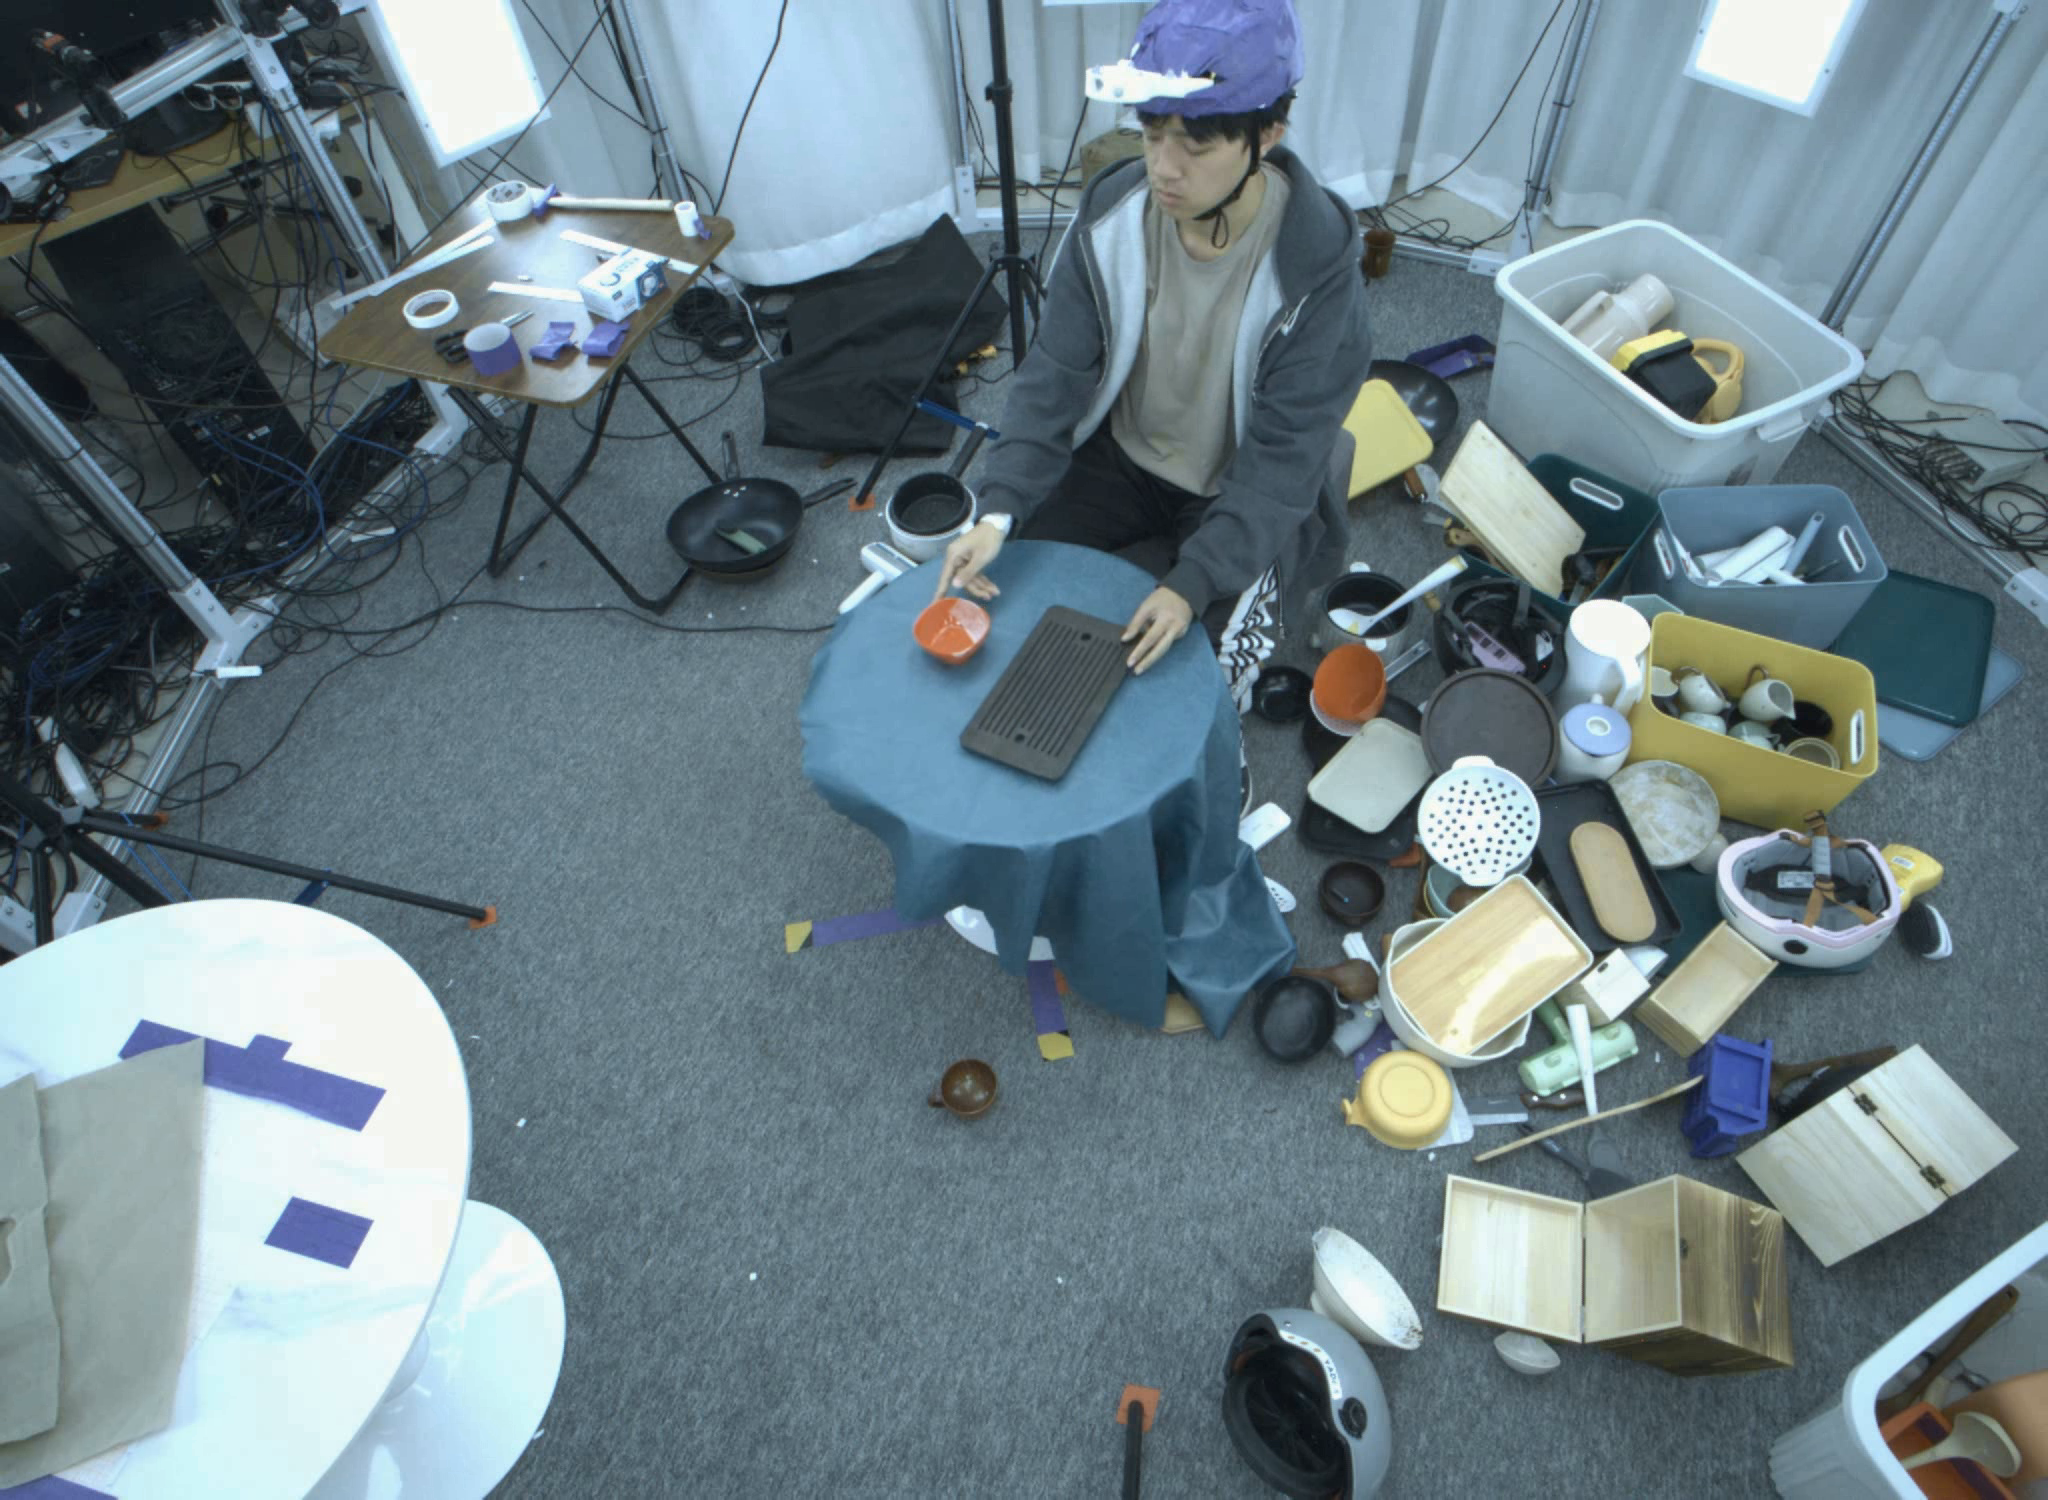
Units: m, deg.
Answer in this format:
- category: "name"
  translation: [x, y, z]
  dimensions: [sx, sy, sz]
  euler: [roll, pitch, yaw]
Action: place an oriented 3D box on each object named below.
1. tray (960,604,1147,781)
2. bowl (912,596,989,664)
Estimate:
- category: "tray"
  translation: [0.047, -0.090, 1.839]
  dimensions: [0.168, 0.019, 0.306]
  euler: [22, 58, 18]
- category: "bowl"
  translation: [-0.110, -0.177, 1.886]
  dimensions: [0.118, 0.052, 0.118]
  euler: [-2, 56, 3]
